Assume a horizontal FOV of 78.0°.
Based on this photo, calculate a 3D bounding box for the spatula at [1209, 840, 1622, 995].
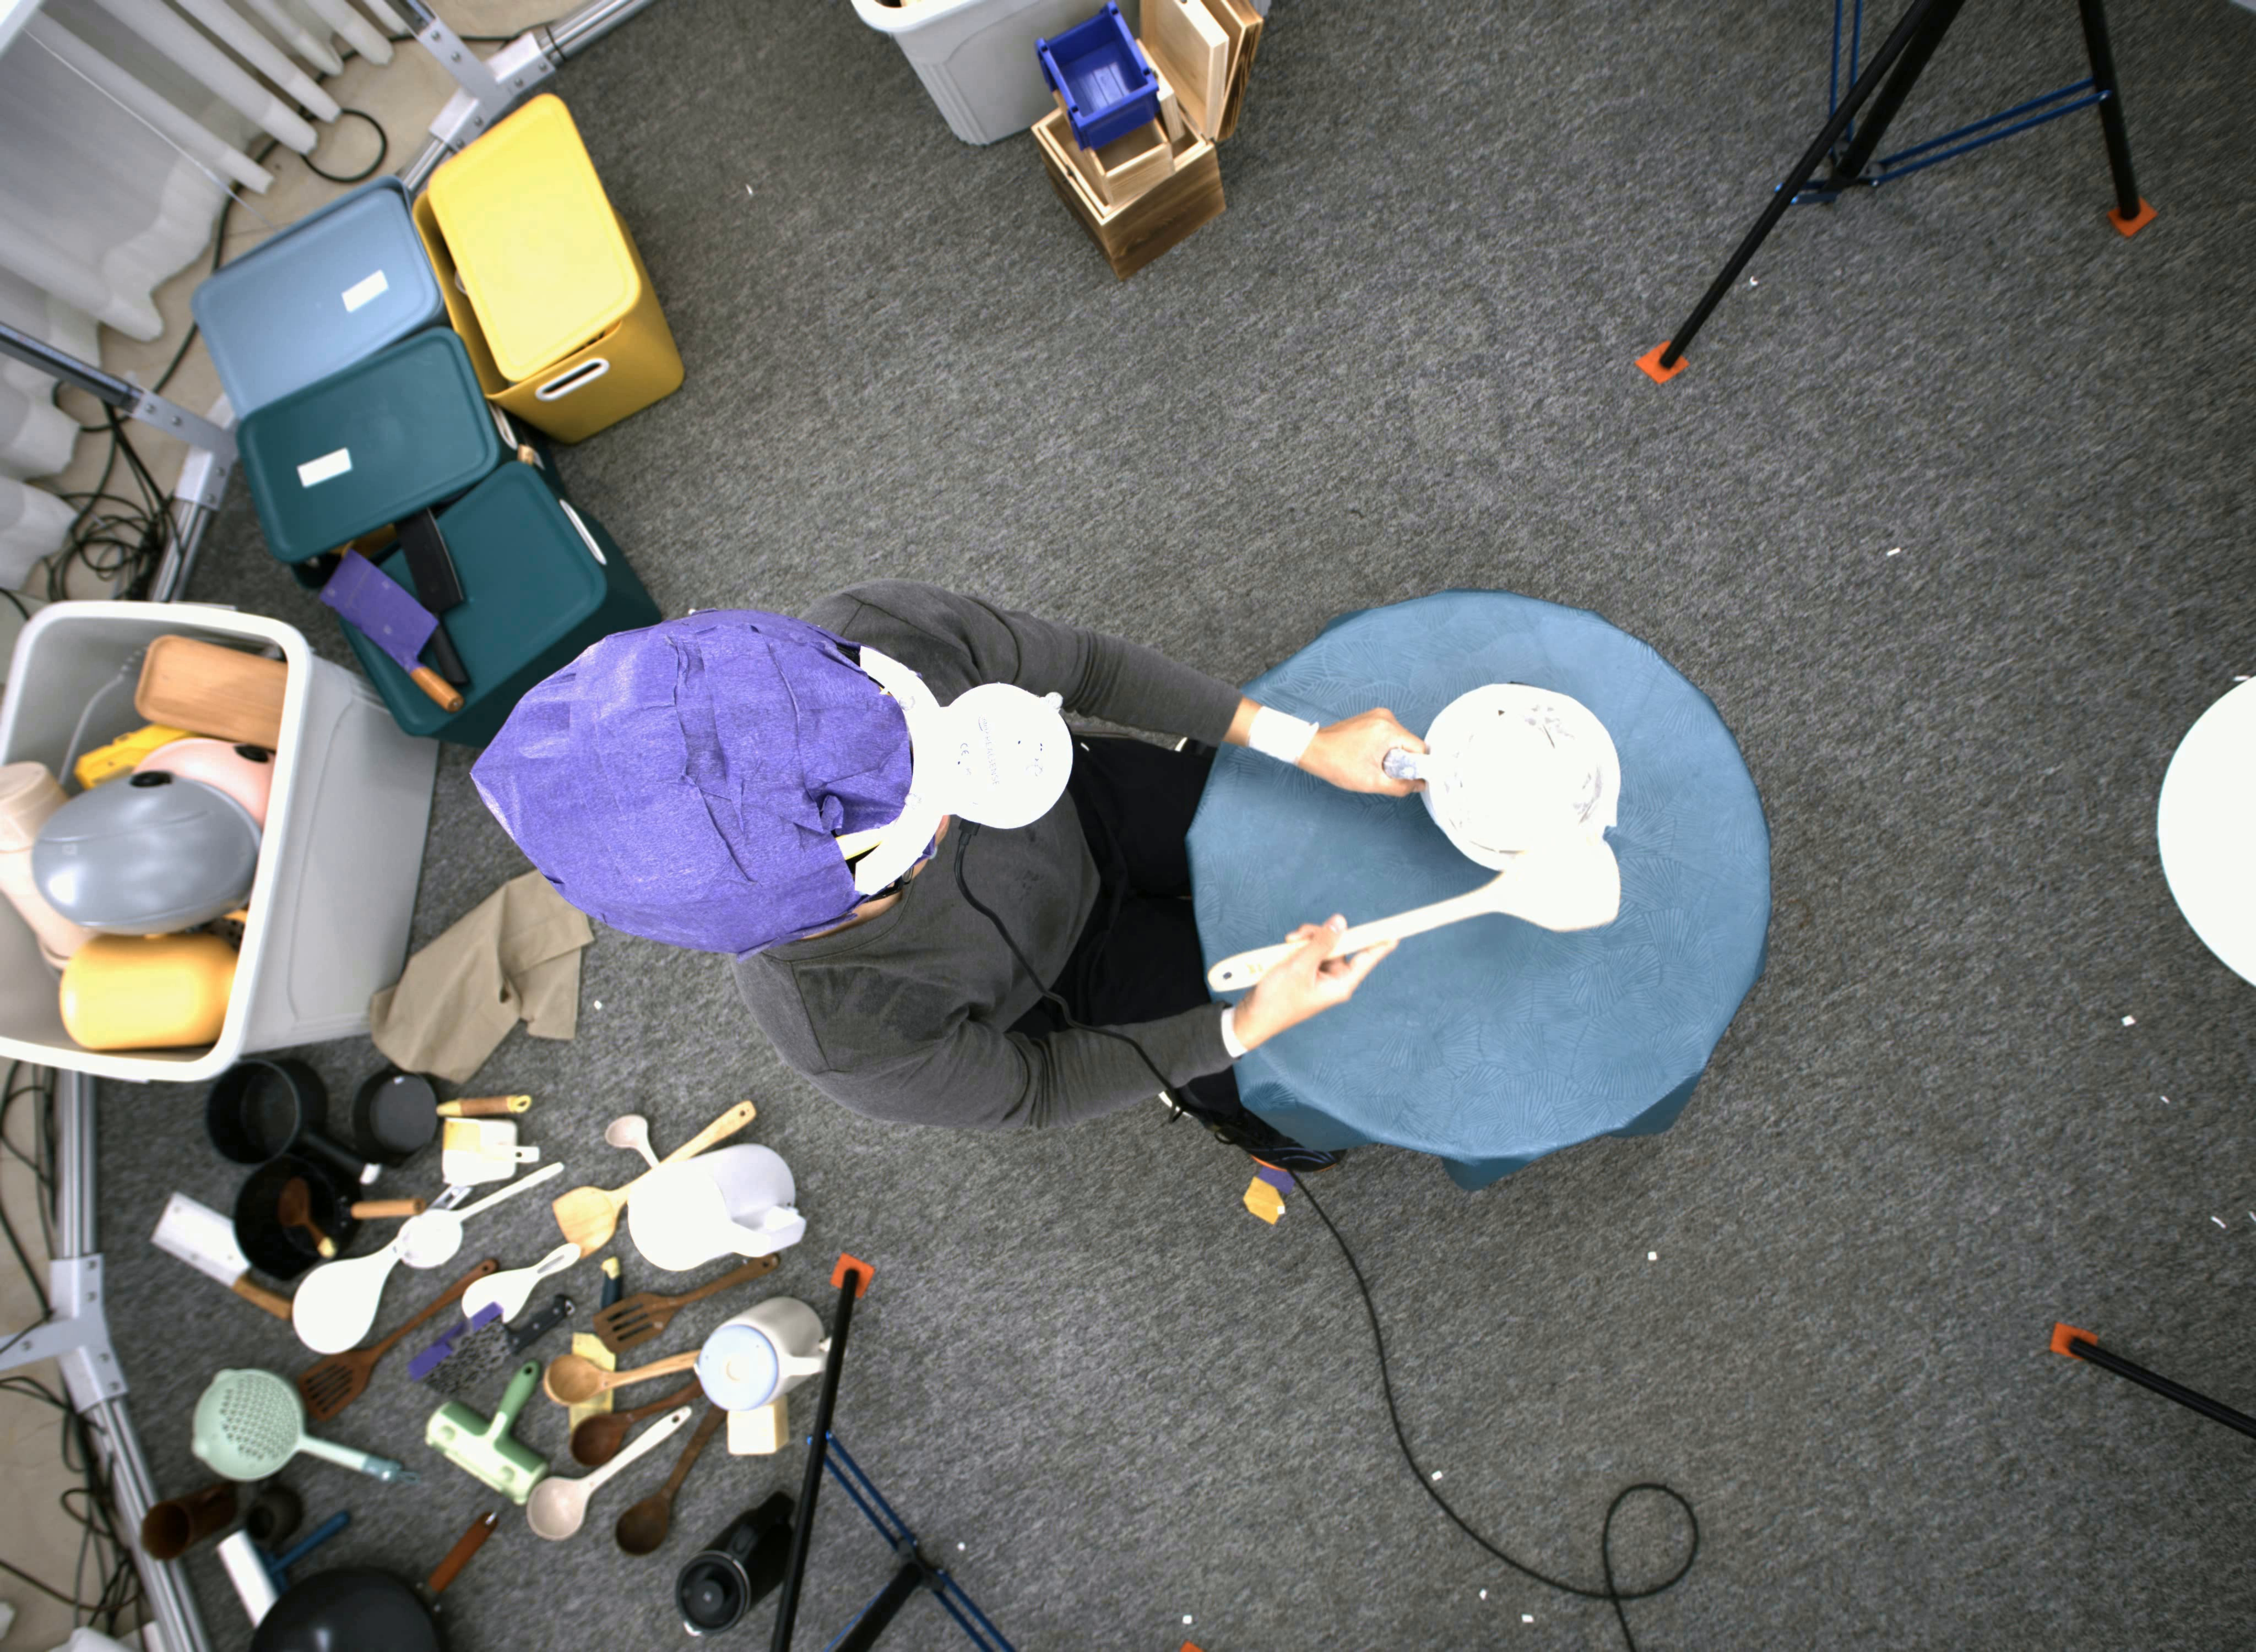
[{"bbox_3d":[0.265,0.100,1.276,0.391,0.018,0.096,-15,100,1],"label":"spatula"}]

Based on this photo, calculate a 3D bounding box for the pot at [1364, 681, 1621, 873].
[{"bbox_3d":[0.353,-0.057,1.356,0.234,0.135,0.180,6,101,5],"label":"pot"}]
